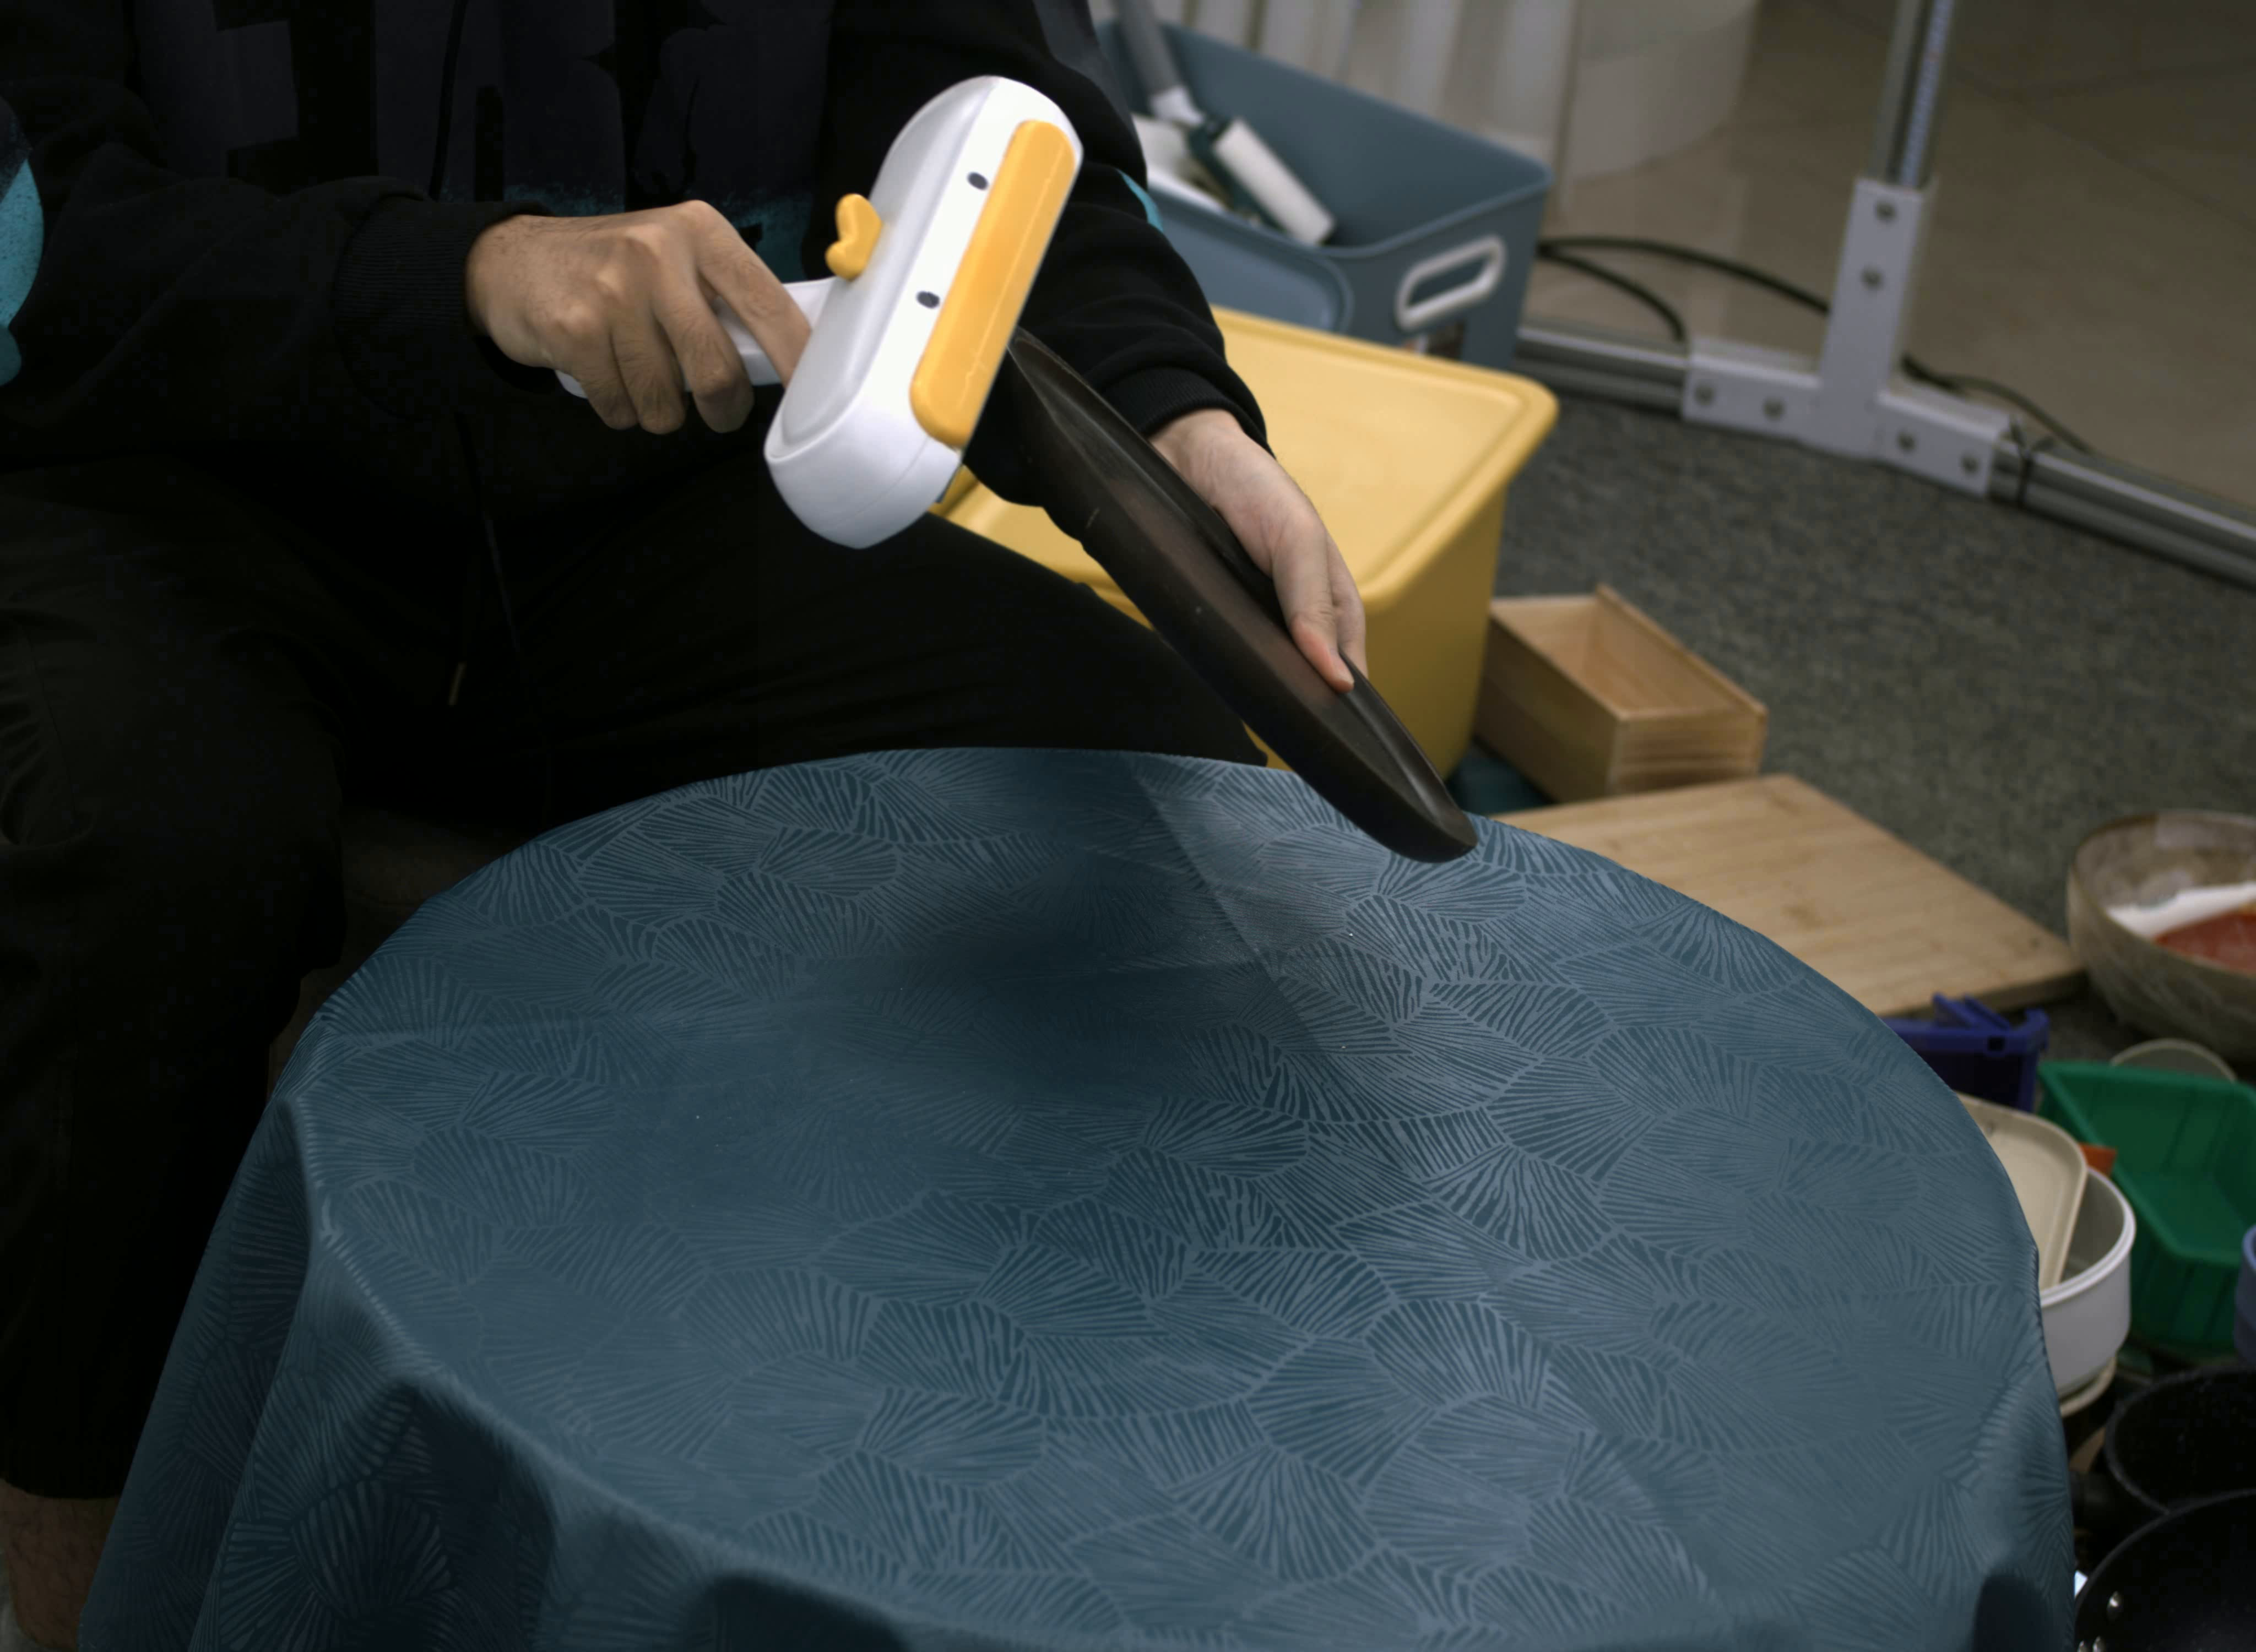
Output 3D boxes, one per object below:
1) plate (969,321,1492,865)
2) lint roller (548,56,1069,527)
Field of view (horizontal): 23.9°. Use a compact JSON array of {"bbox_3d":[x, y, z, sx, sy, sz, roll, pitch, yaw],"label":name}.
[{"bbox_3d":[0.032,-0.080,1.884,0.254,0.029,0.255,45,8,-8],"label":"plate"},{"bbox_3d":[-0.118,-0.174,1.863,0.193,0.073,0.194,-20,43,37],"label":"lint roller"}]
